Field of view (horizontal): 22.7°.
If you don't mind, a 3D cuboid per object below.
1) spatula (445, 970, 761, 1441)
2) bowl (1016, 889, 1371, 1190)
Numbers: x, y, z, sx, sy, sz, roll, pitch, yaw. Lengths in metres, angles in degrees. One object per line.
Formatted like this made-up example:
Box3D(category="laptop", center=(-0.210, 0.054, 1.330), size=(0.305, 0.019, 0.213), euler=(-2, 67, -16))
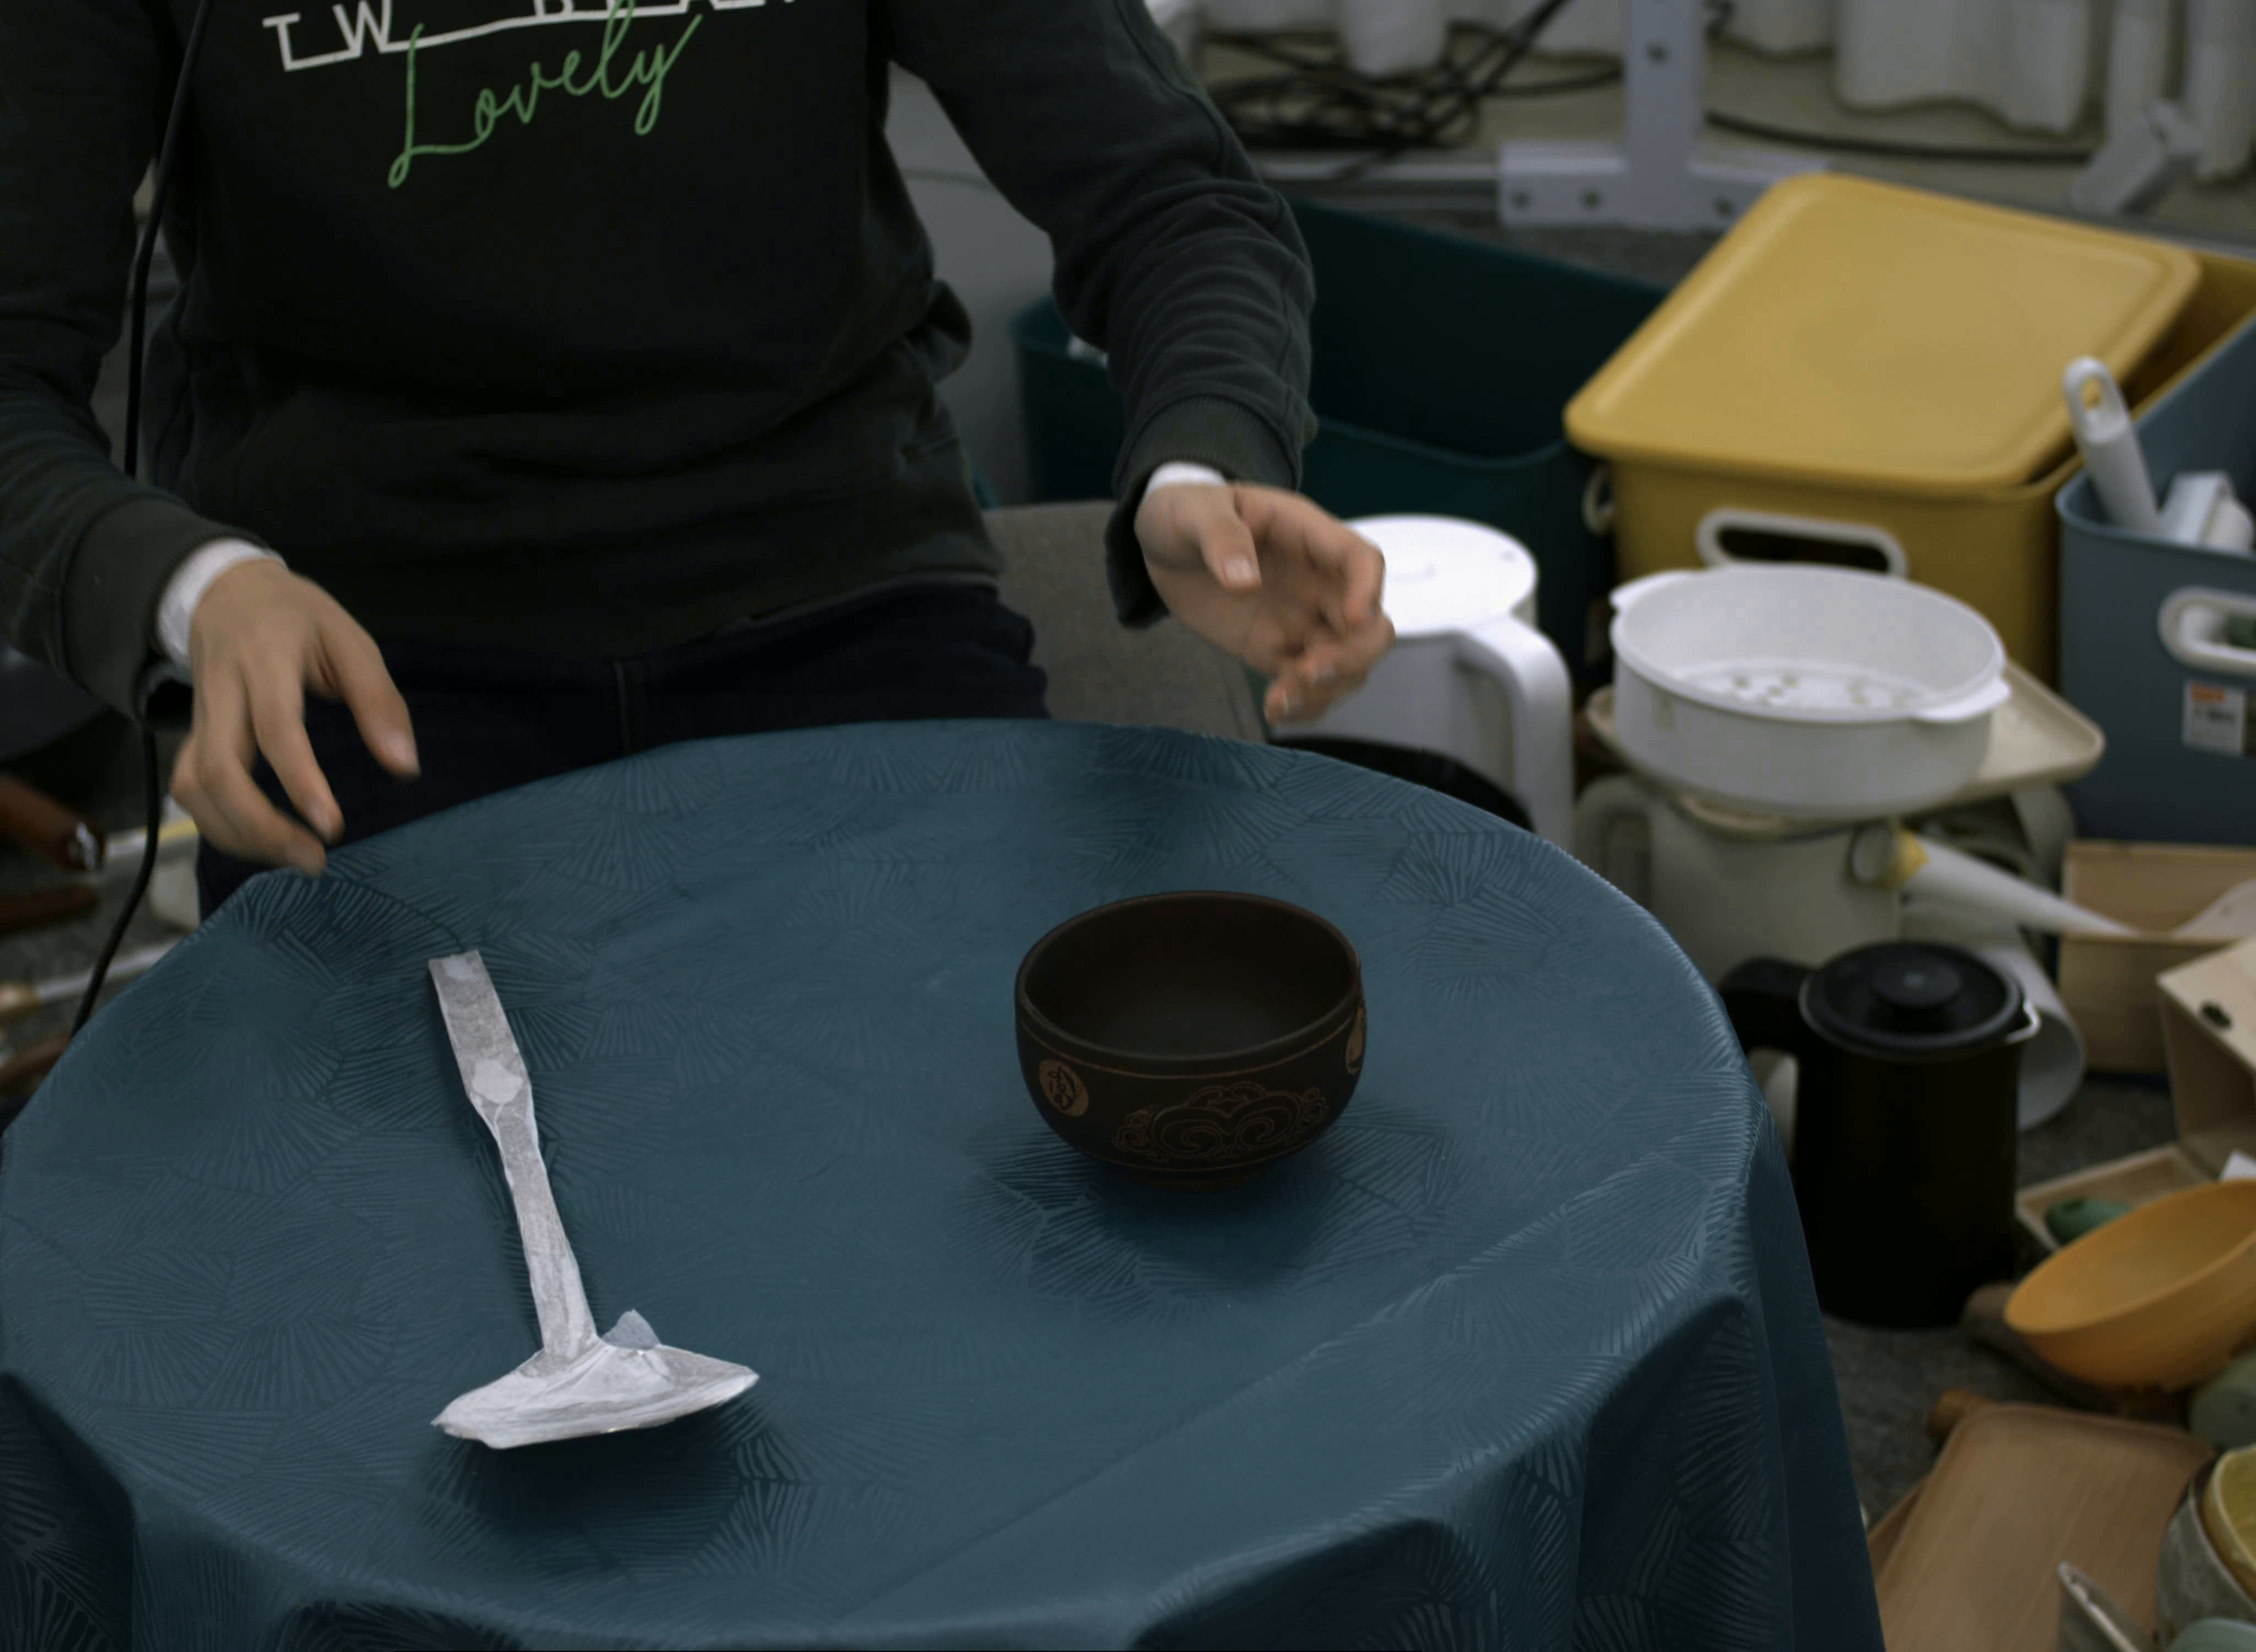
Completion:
Box3D(category="spatula", center=(-0.193, 0.117, 1.848), size=(0.098, 0.044, 0.369), euler=(-10, 28, -9))
Box3D(category="bowl", center=(0.022, 0.077, 1.868), size=(0.117, 0.069, 0.120), euler=(-1, 26, 1))
